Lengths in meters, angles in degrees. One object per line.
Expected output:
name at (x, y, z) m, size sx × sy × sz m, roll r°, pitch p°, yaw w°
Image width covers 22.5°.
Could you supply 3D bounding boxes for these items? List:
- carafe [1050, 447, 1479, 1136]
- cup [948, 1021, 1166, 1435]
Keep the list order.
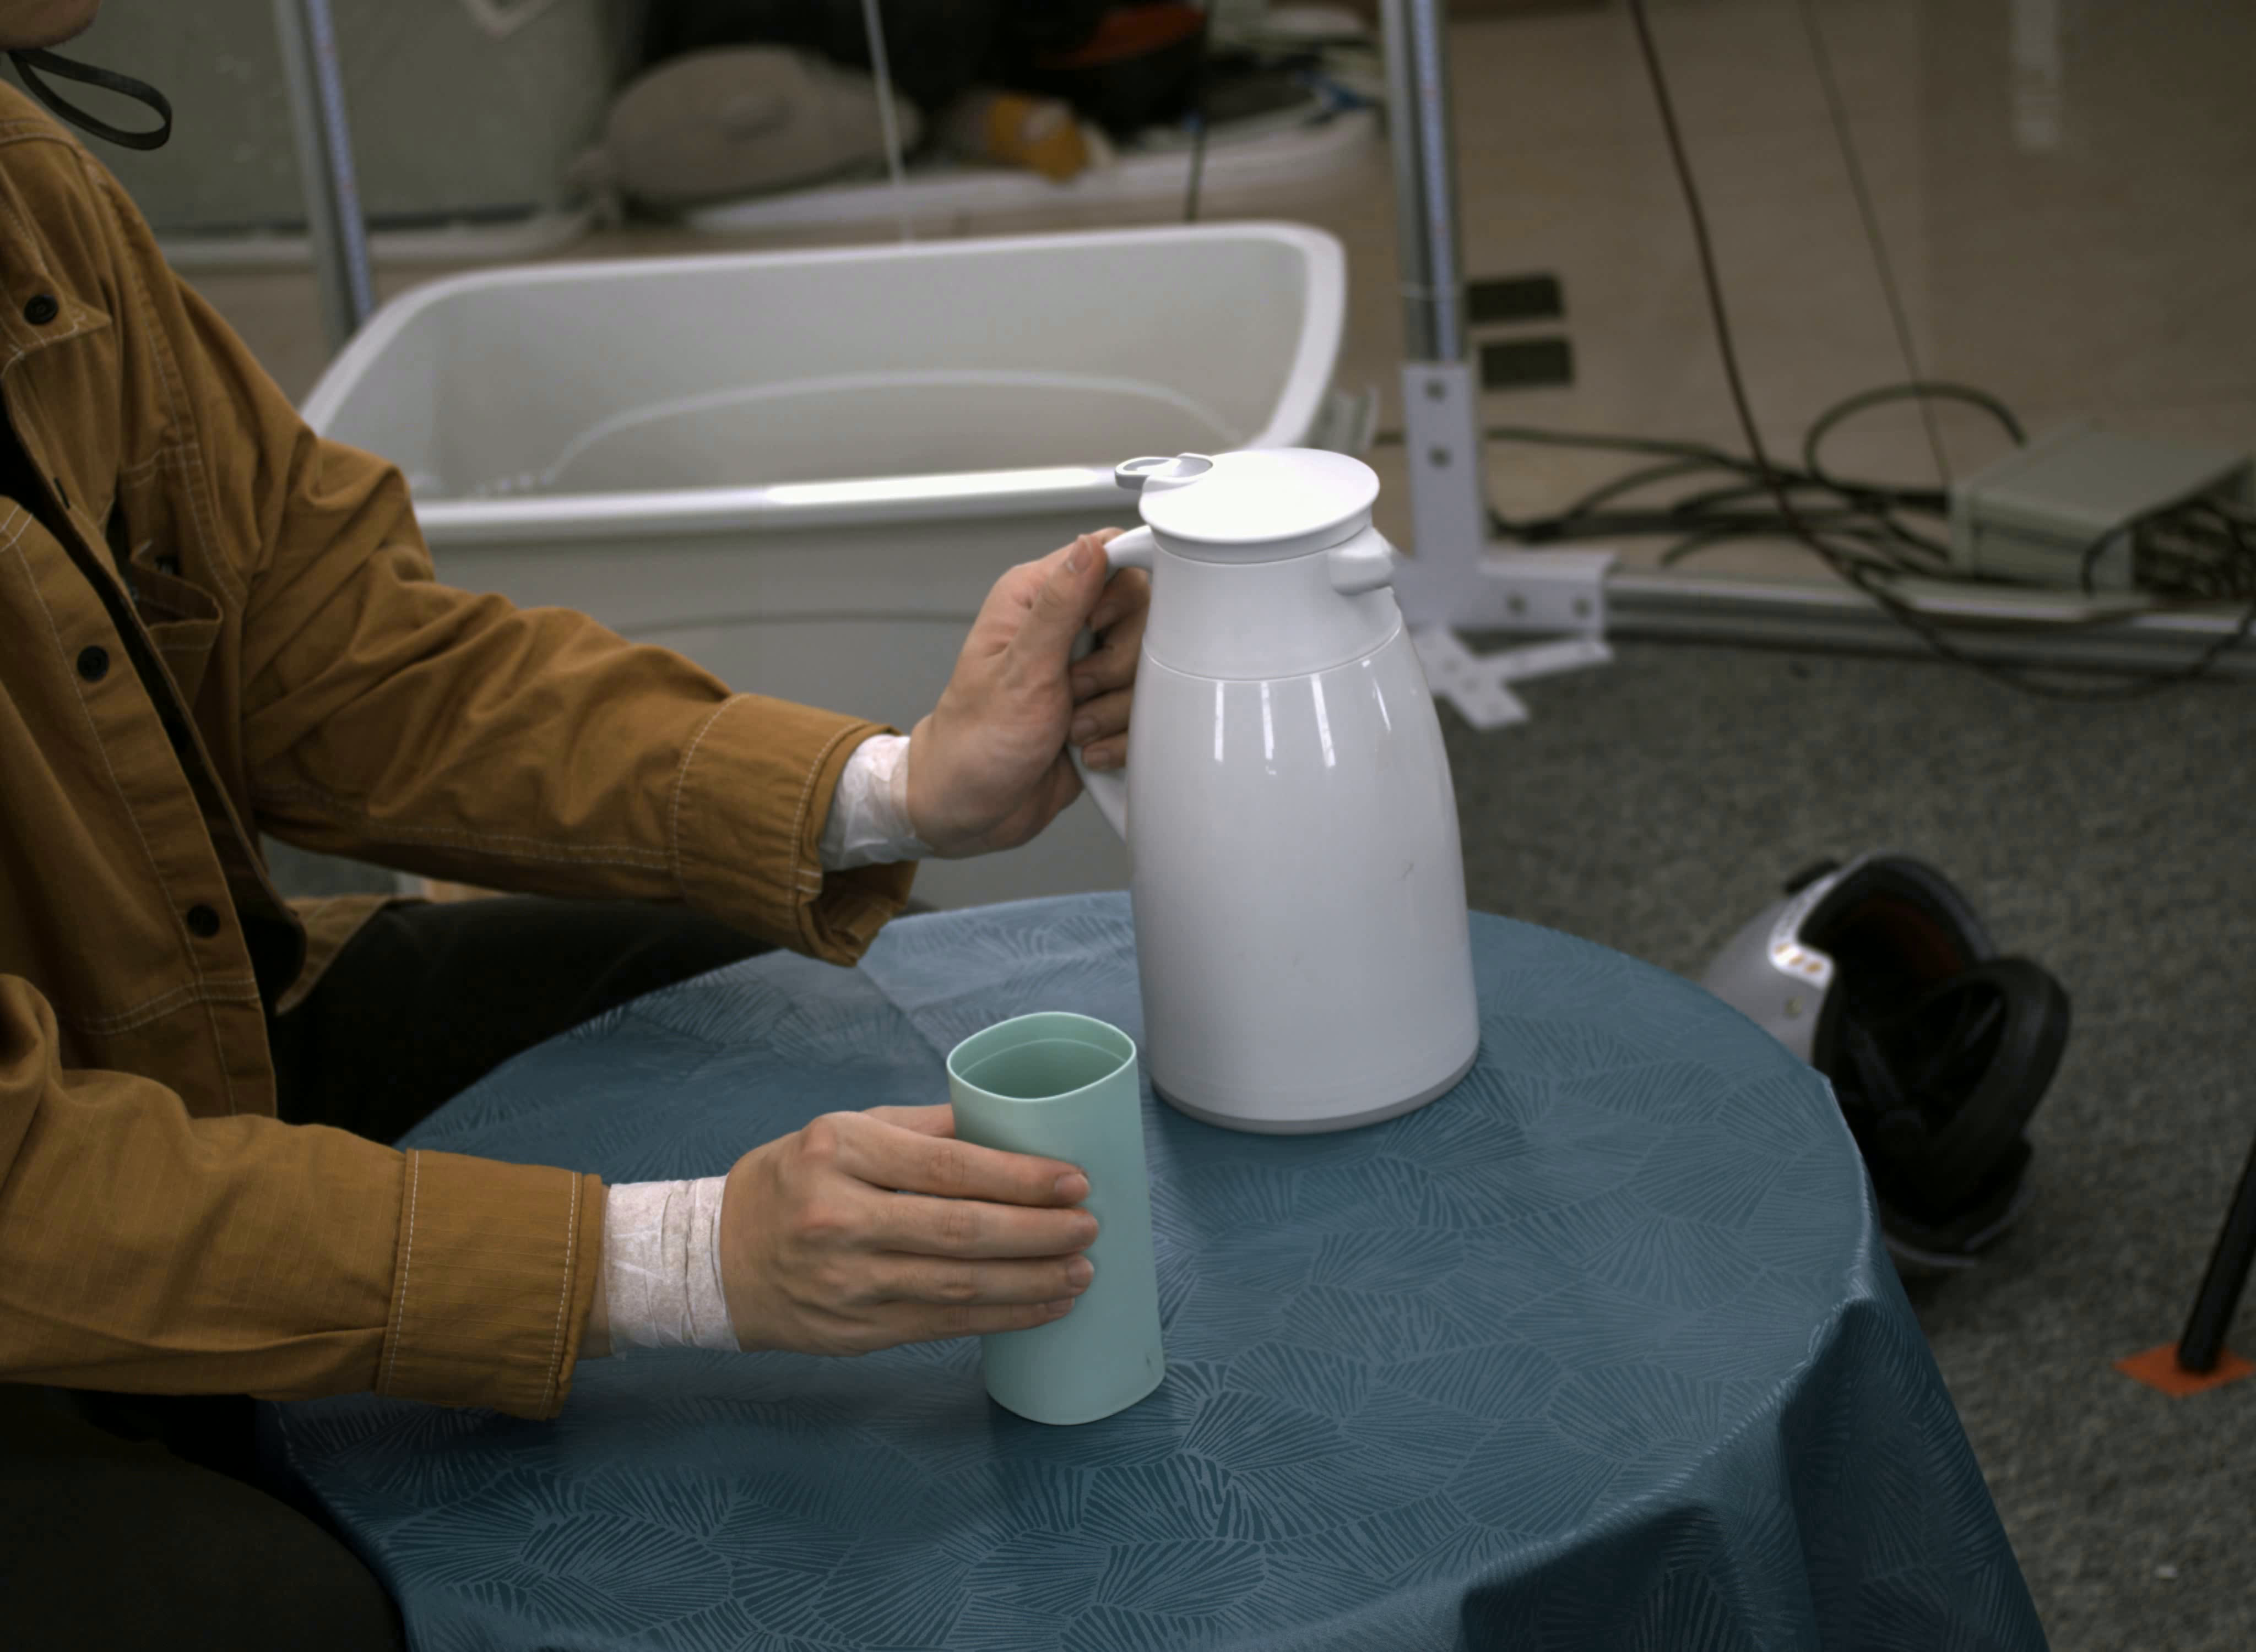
carafe at (0.045, -0.023, 2.189) m, size 0.167 × 0.252 × 0.131 m, roll 11°, pitch 31°, yaw 34°
cup at (-0.025, 0.142, 2.001) m, size 0.066 × 0.134 × 0.066 m, roll -5°, pitch 26°, yaw 2°
